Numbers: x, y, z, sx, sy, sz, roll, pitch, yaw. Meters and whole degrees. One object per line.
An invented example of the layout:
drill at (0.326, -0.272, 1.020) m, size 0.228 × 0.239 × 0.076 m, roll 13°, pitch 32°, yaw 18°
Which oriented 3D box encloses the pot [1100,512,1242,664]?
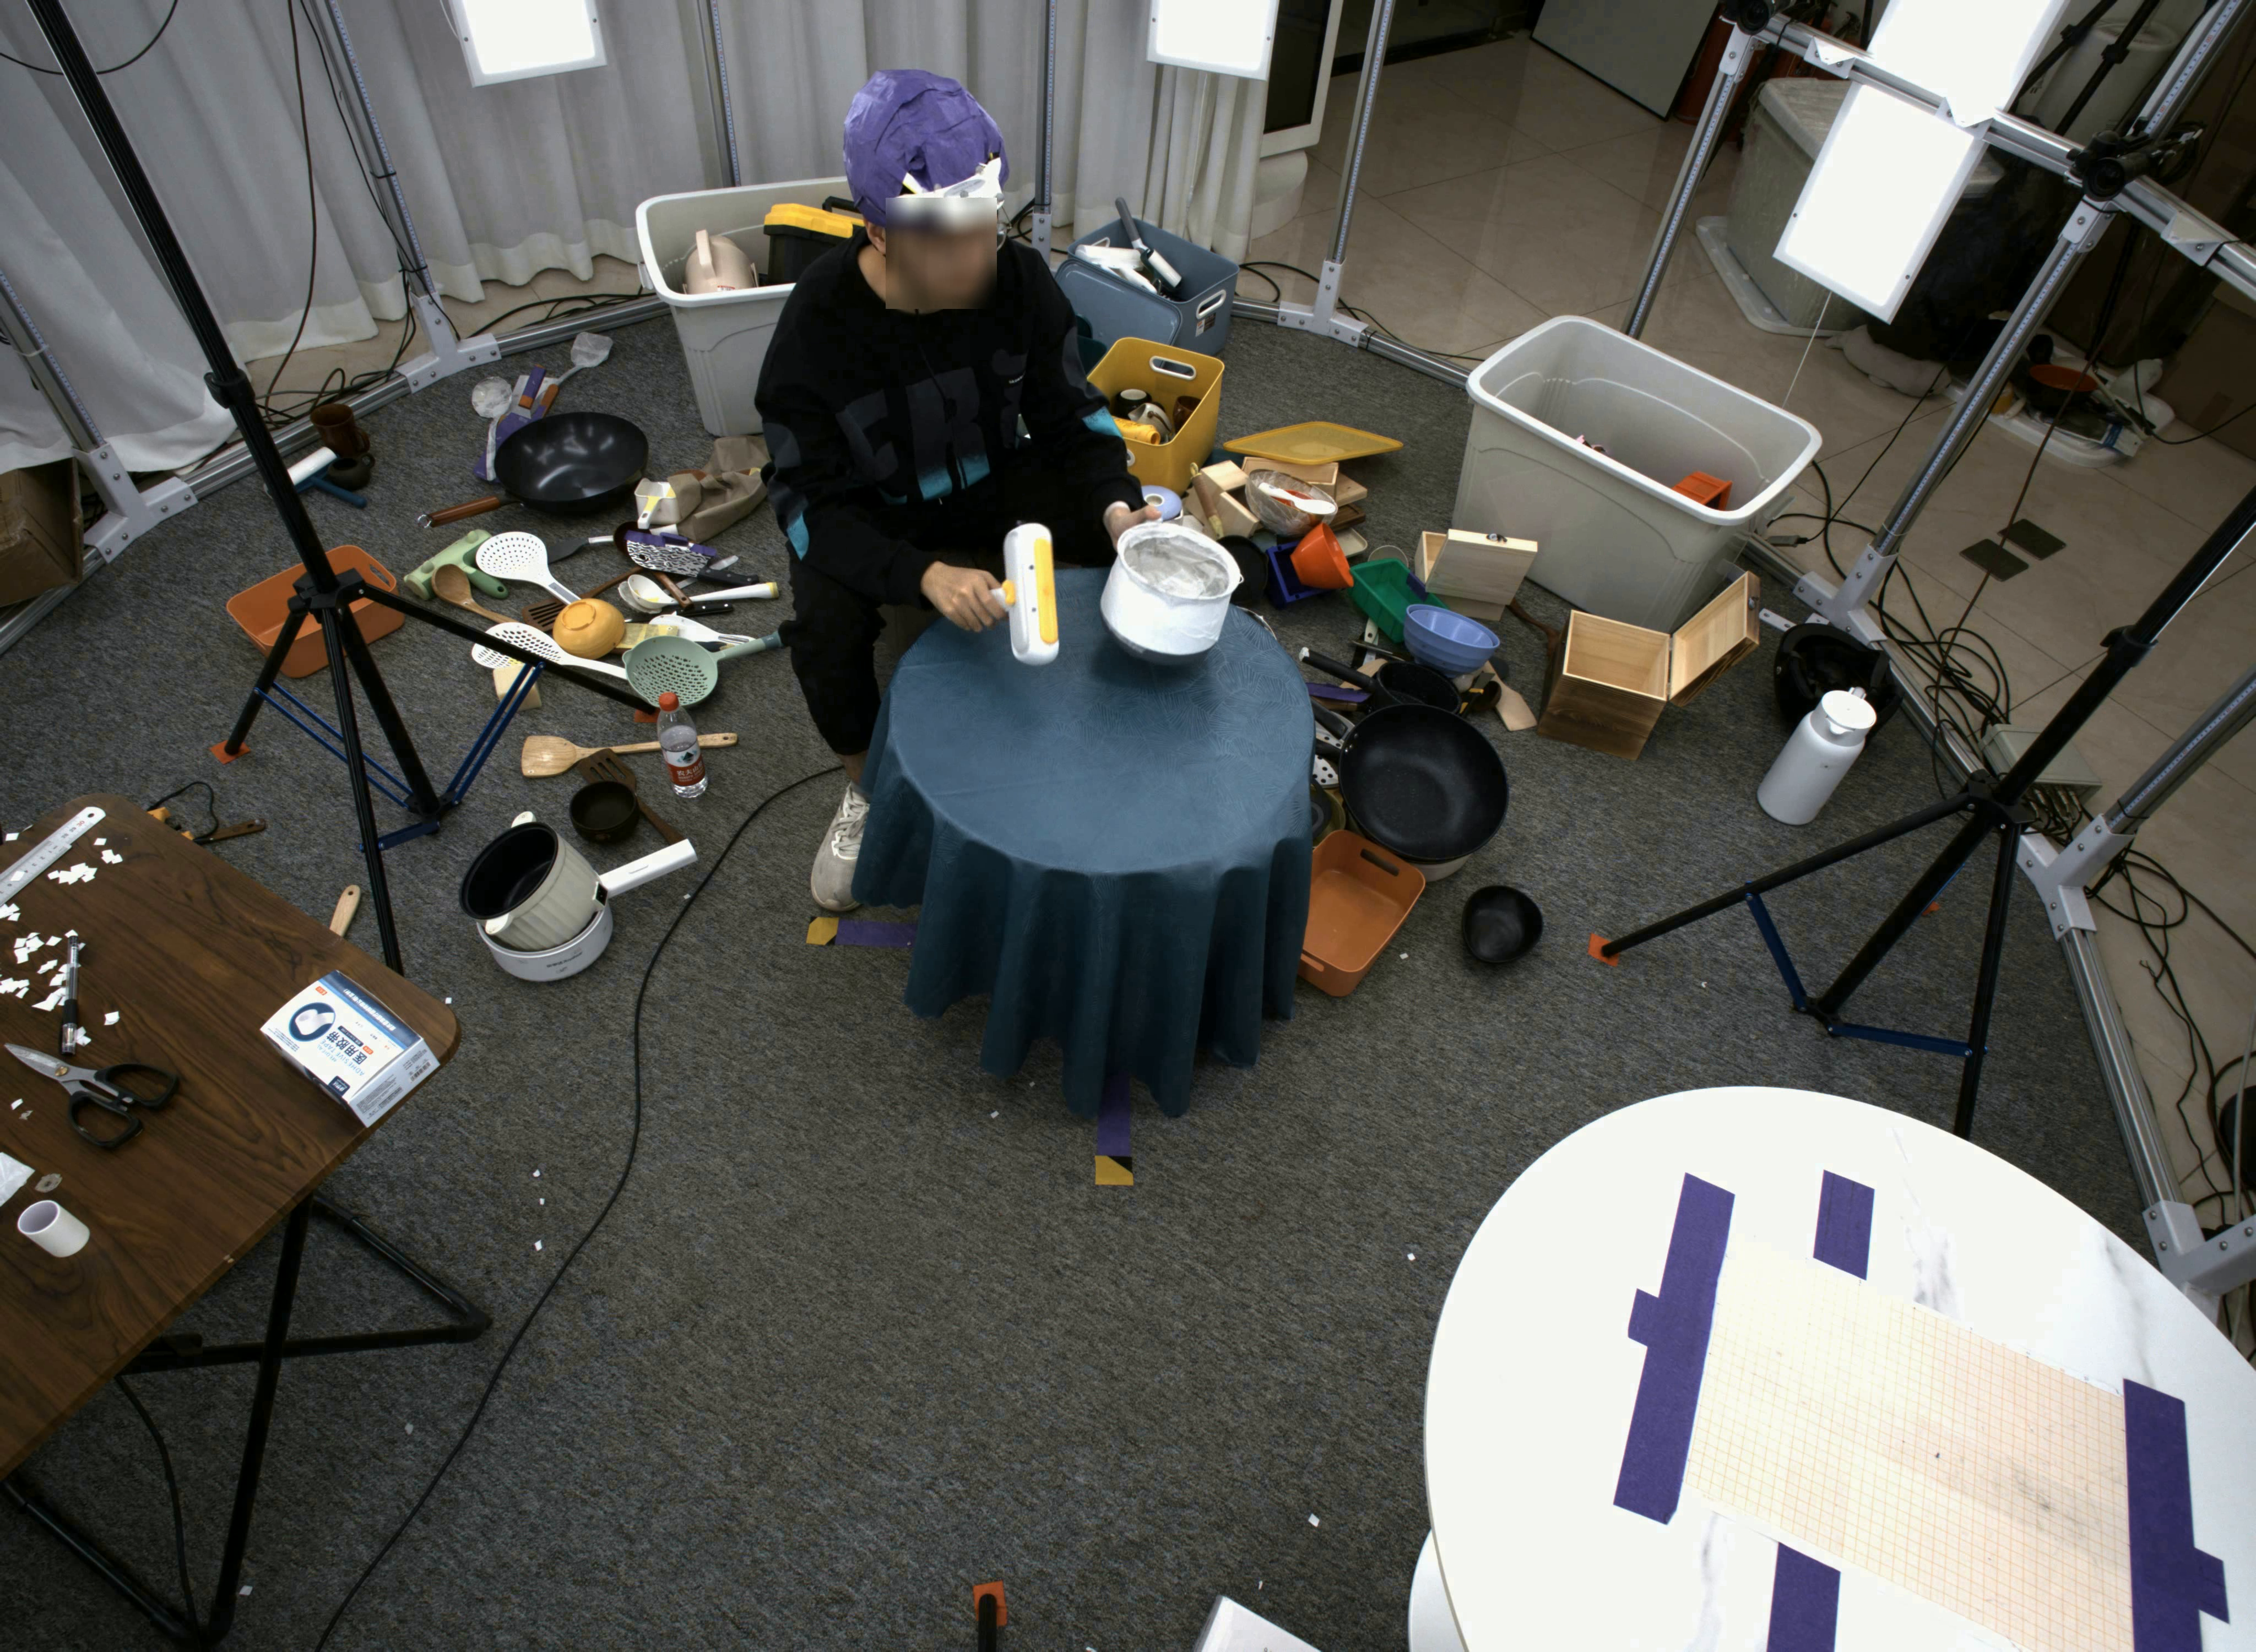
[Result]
pot at (0.048, -0.347, 1.833) m, size 0.178 × 0.134 × 0.239 m, roll -1°, pitch 46°, yaw -24°

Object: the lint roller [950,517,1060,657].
lint roller at (-0.174, -0.321, 1.809) m, size 0.074 × 0.192 × 0.194 m, roll -5°, pitch 85°, yaw -42°
